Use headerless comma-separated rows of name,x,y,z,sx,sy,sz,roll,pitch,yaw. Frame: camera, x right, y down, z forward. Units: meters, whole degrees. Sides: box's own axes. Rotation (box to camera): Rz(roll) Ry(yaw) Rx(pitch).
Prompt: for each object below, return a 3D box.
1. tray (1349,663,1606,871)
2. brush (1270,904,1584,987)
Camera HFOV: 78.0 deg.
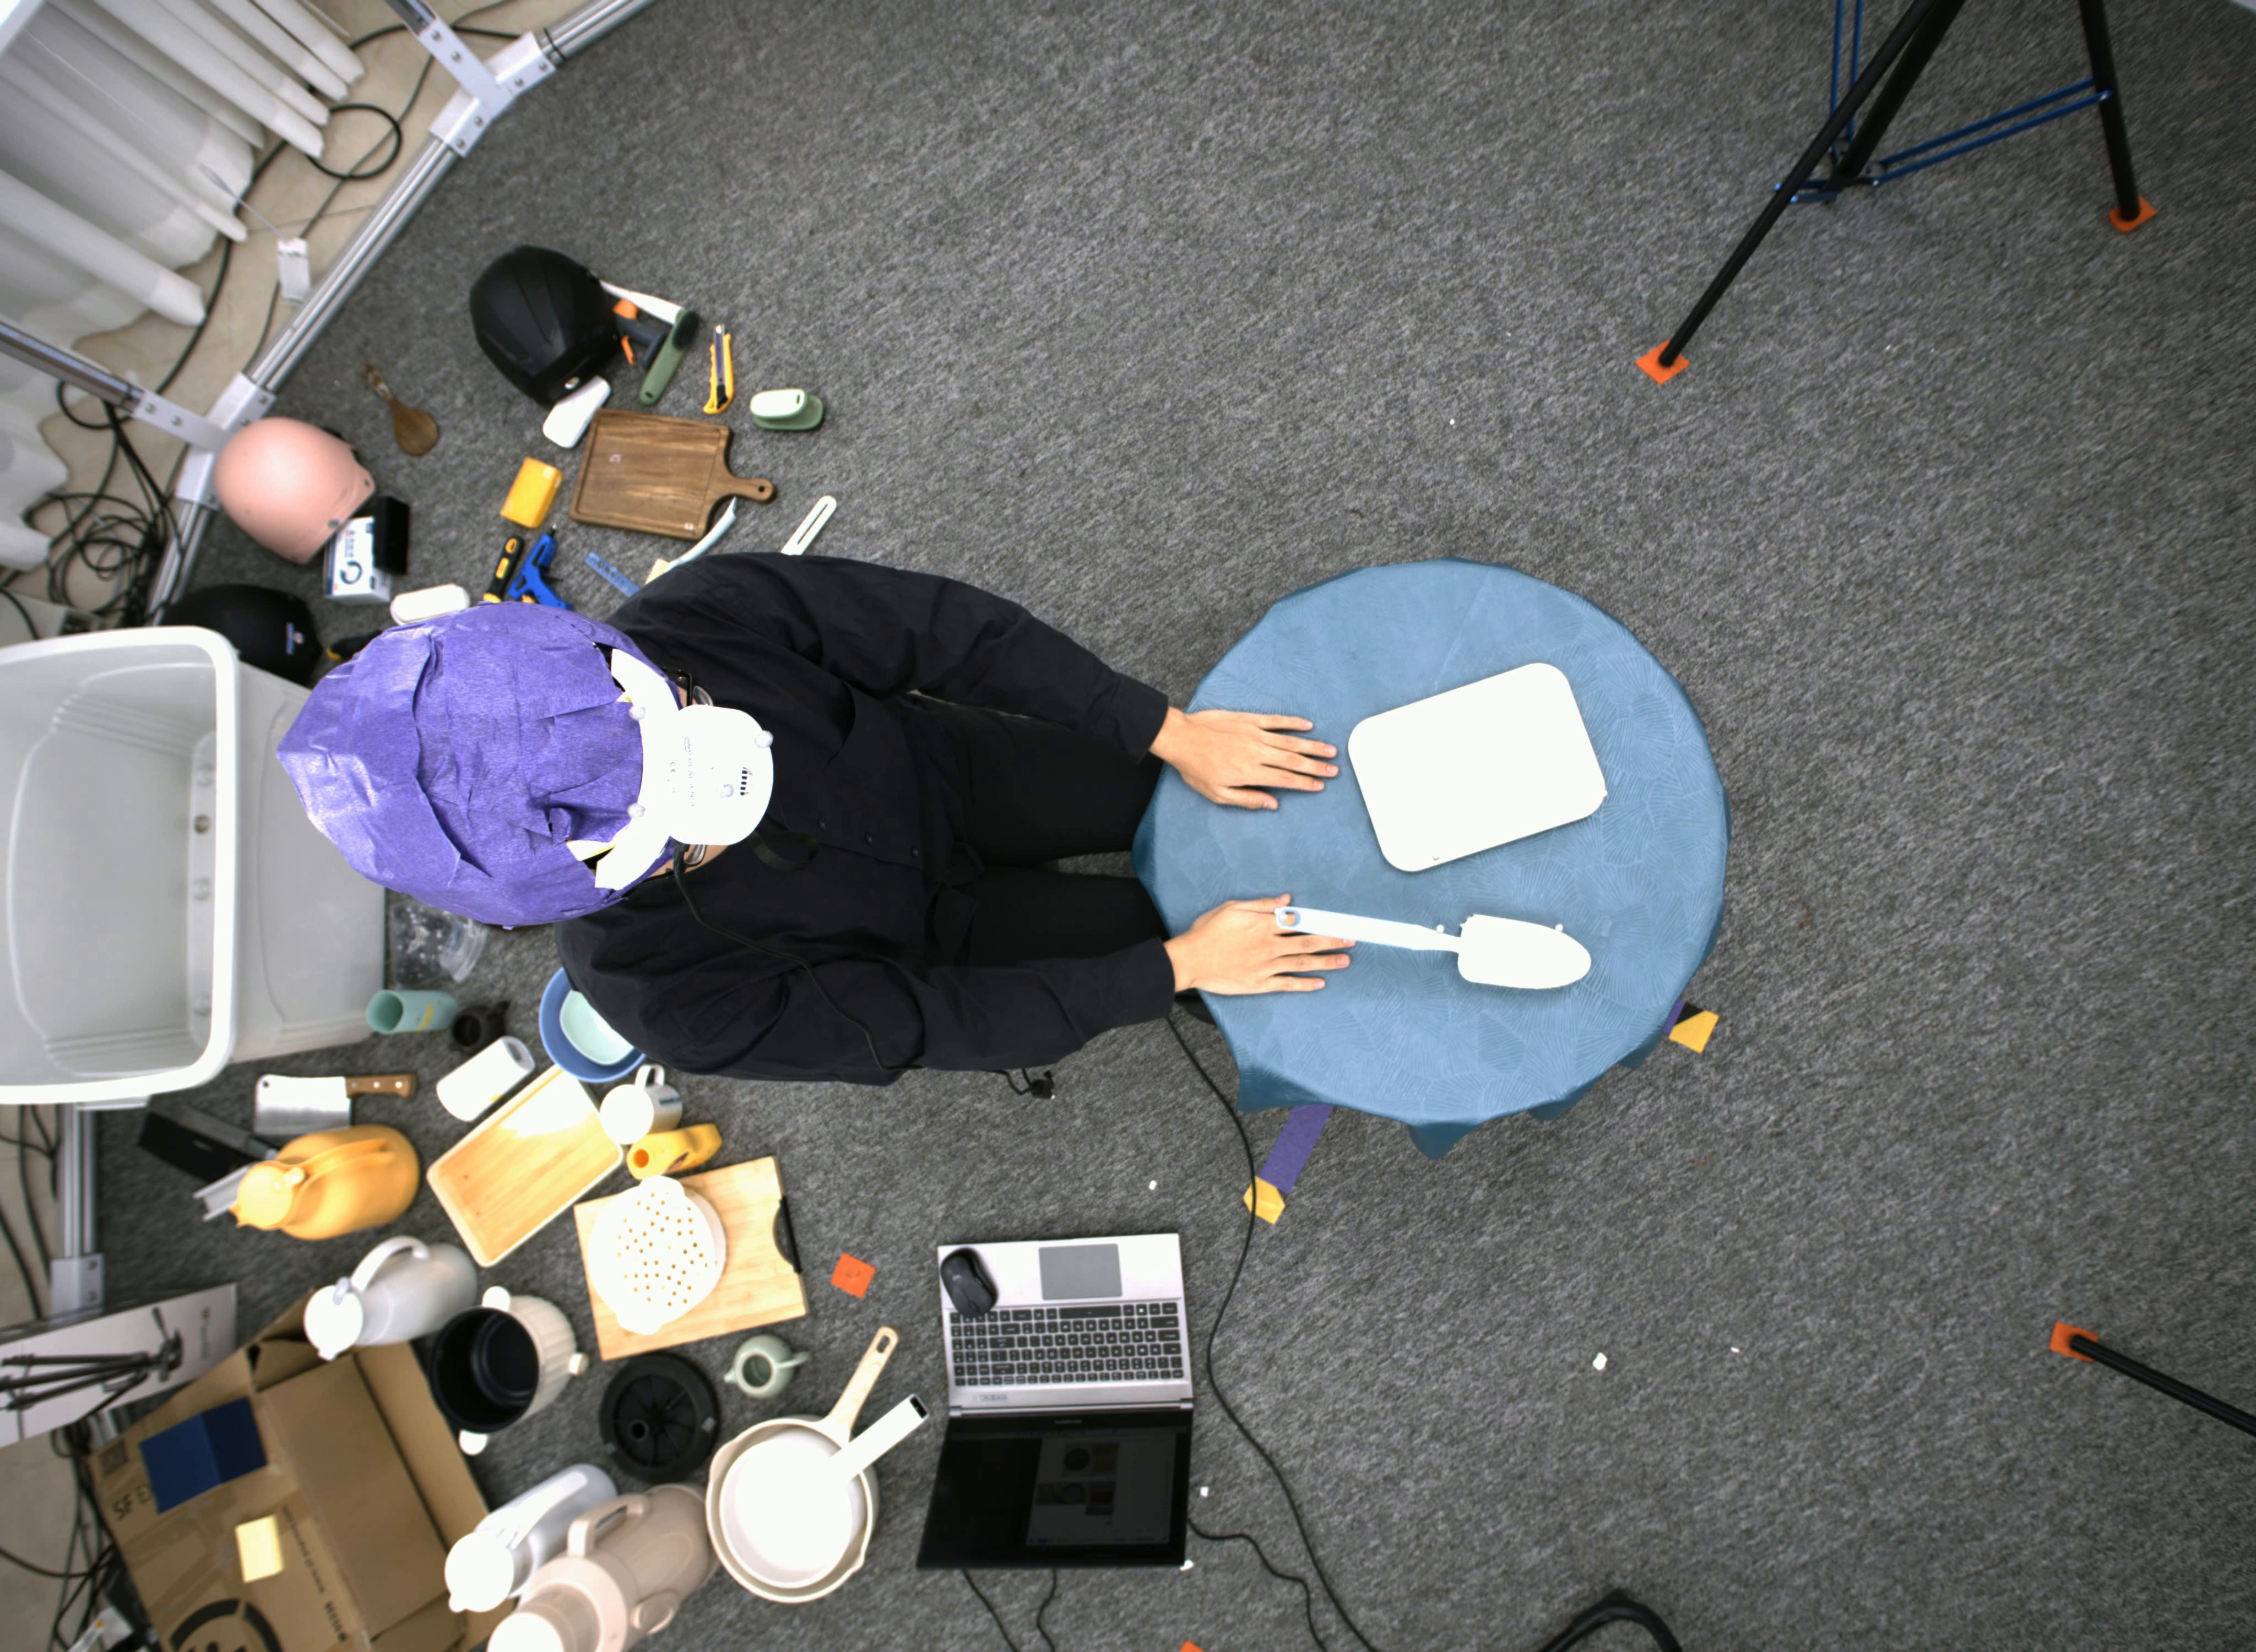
tray,0.364,-0.063,1.440,0.241,0.017,0.170,-18,84,8
brush,0.302,0.110,1.408,0.326,0.087,0.081,9,50,-1
